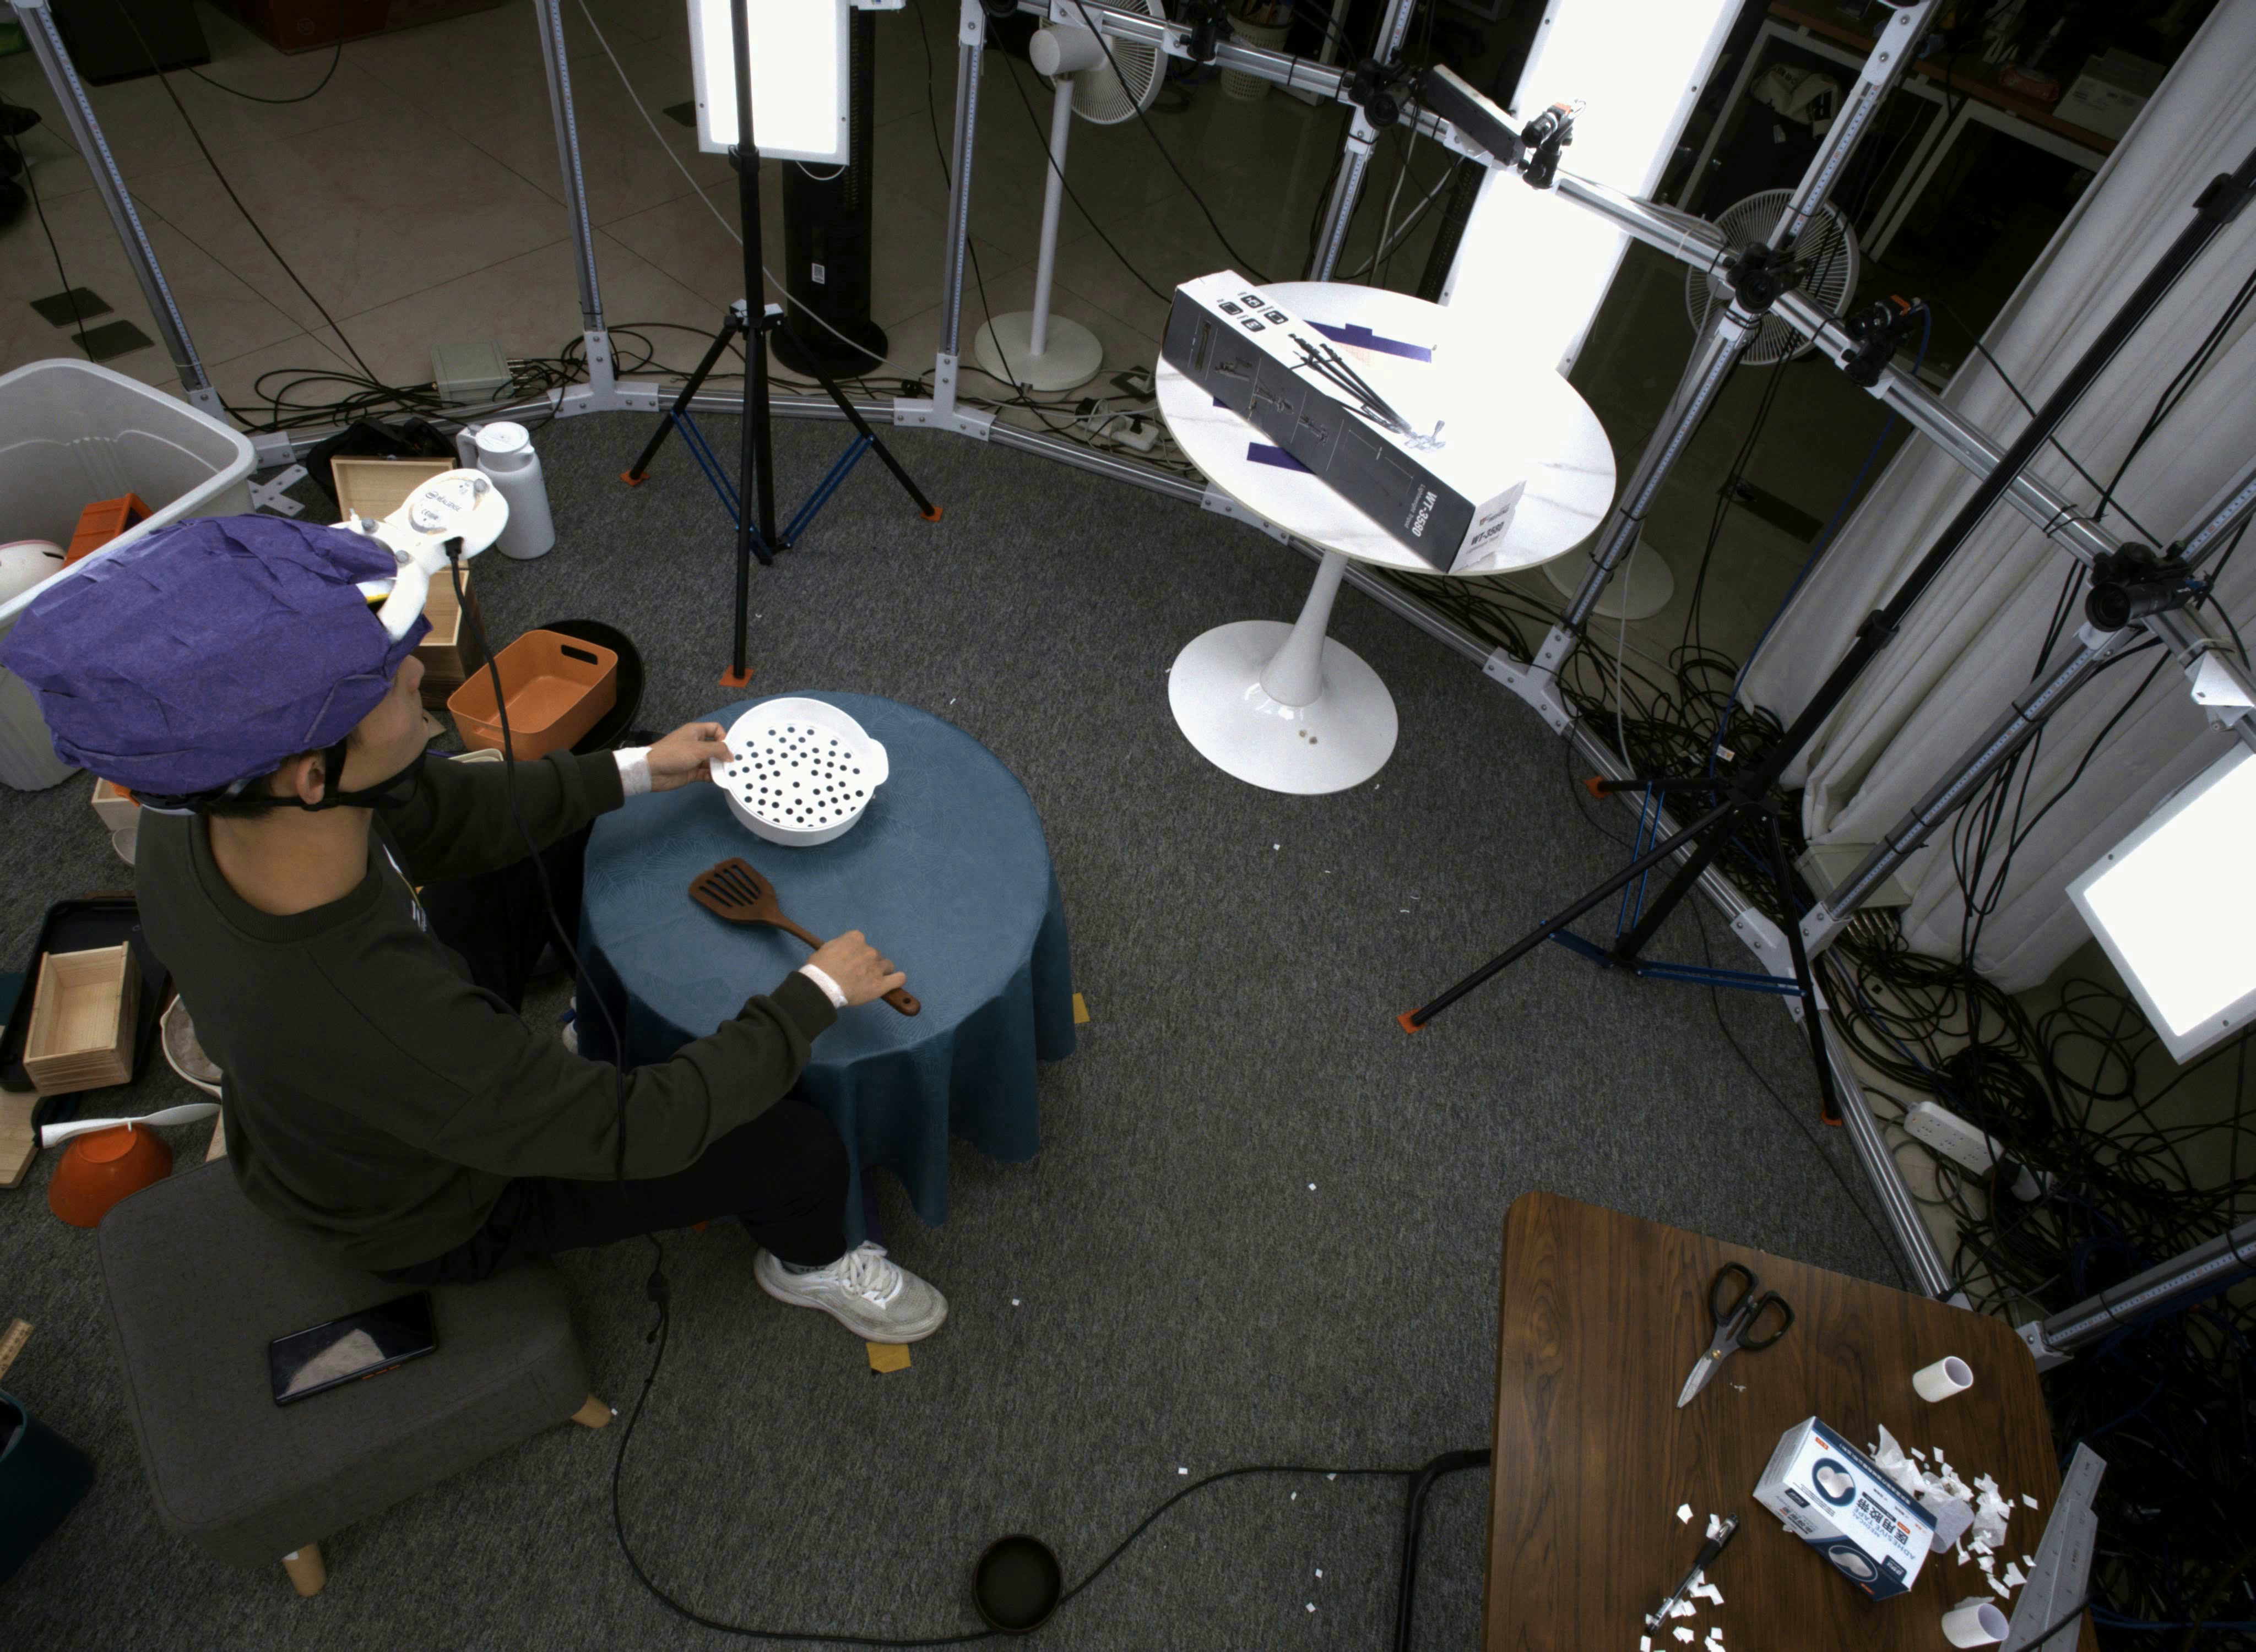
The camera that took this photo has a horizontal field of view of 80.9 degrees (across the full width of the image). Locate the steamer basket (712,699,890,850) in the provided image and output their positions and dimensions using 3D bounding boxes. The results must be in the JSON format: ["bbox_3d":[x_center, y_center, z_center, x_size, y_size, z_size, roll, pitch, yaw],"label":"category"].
[{"bbox_3d":[-0.435,-0.069,1.727,0.232,0.070,0.199,-4,64,-20],"label":"steamer basket"}]

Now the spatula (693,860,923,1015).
[{"bbox_3d":[-0.386,0.137,1.578,0.372,0.024,0.086,26,45,28],"label":"spatula"}]
